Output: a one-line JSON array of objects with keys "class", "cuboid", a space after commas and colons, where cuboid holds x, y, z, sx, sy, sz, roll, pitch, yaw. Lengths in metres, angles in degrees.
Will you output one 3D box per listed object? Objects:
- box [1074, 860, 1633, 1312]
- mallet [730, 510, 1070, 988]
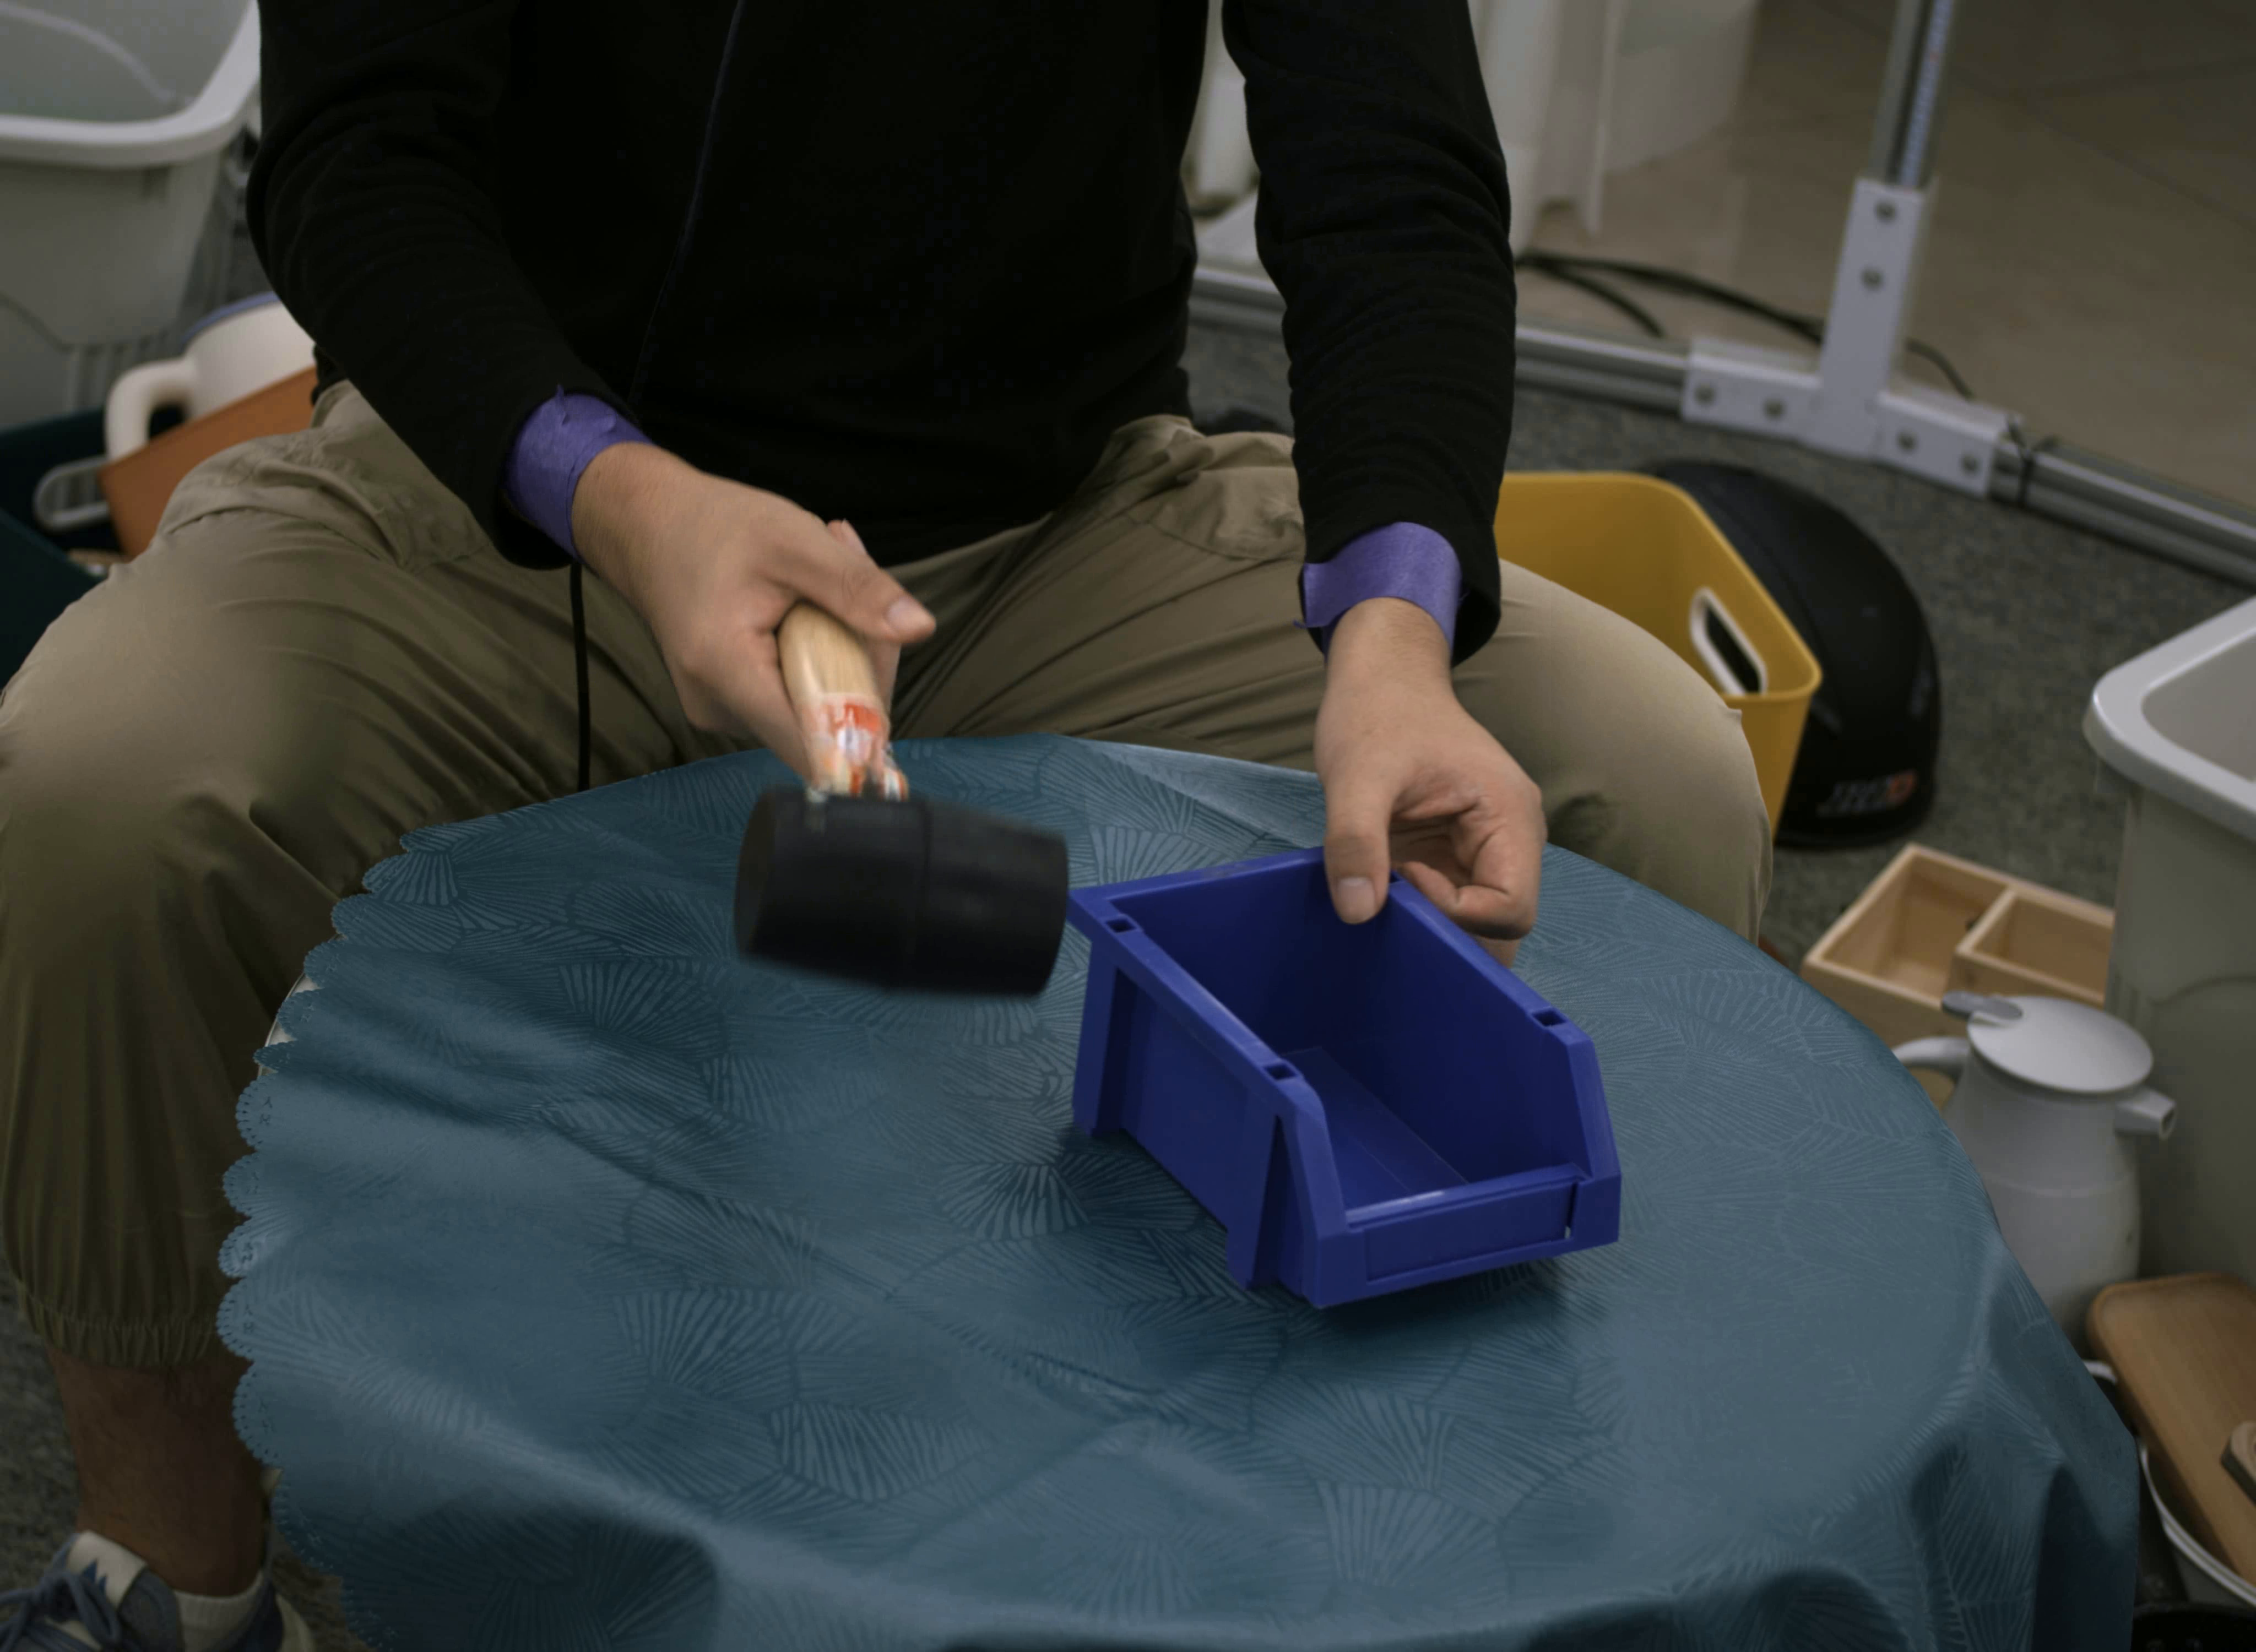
[{"class": "box", "cuboid": [0.076, 0.091, 1.796, 0.123, 0.081, 0.181, -9, 28, -28]}, {"class": "mallet", "cuboid": [-0.094, -0.045, 1.810, 0.101, 0.064, 0.341, 13, 23, -15]}]
